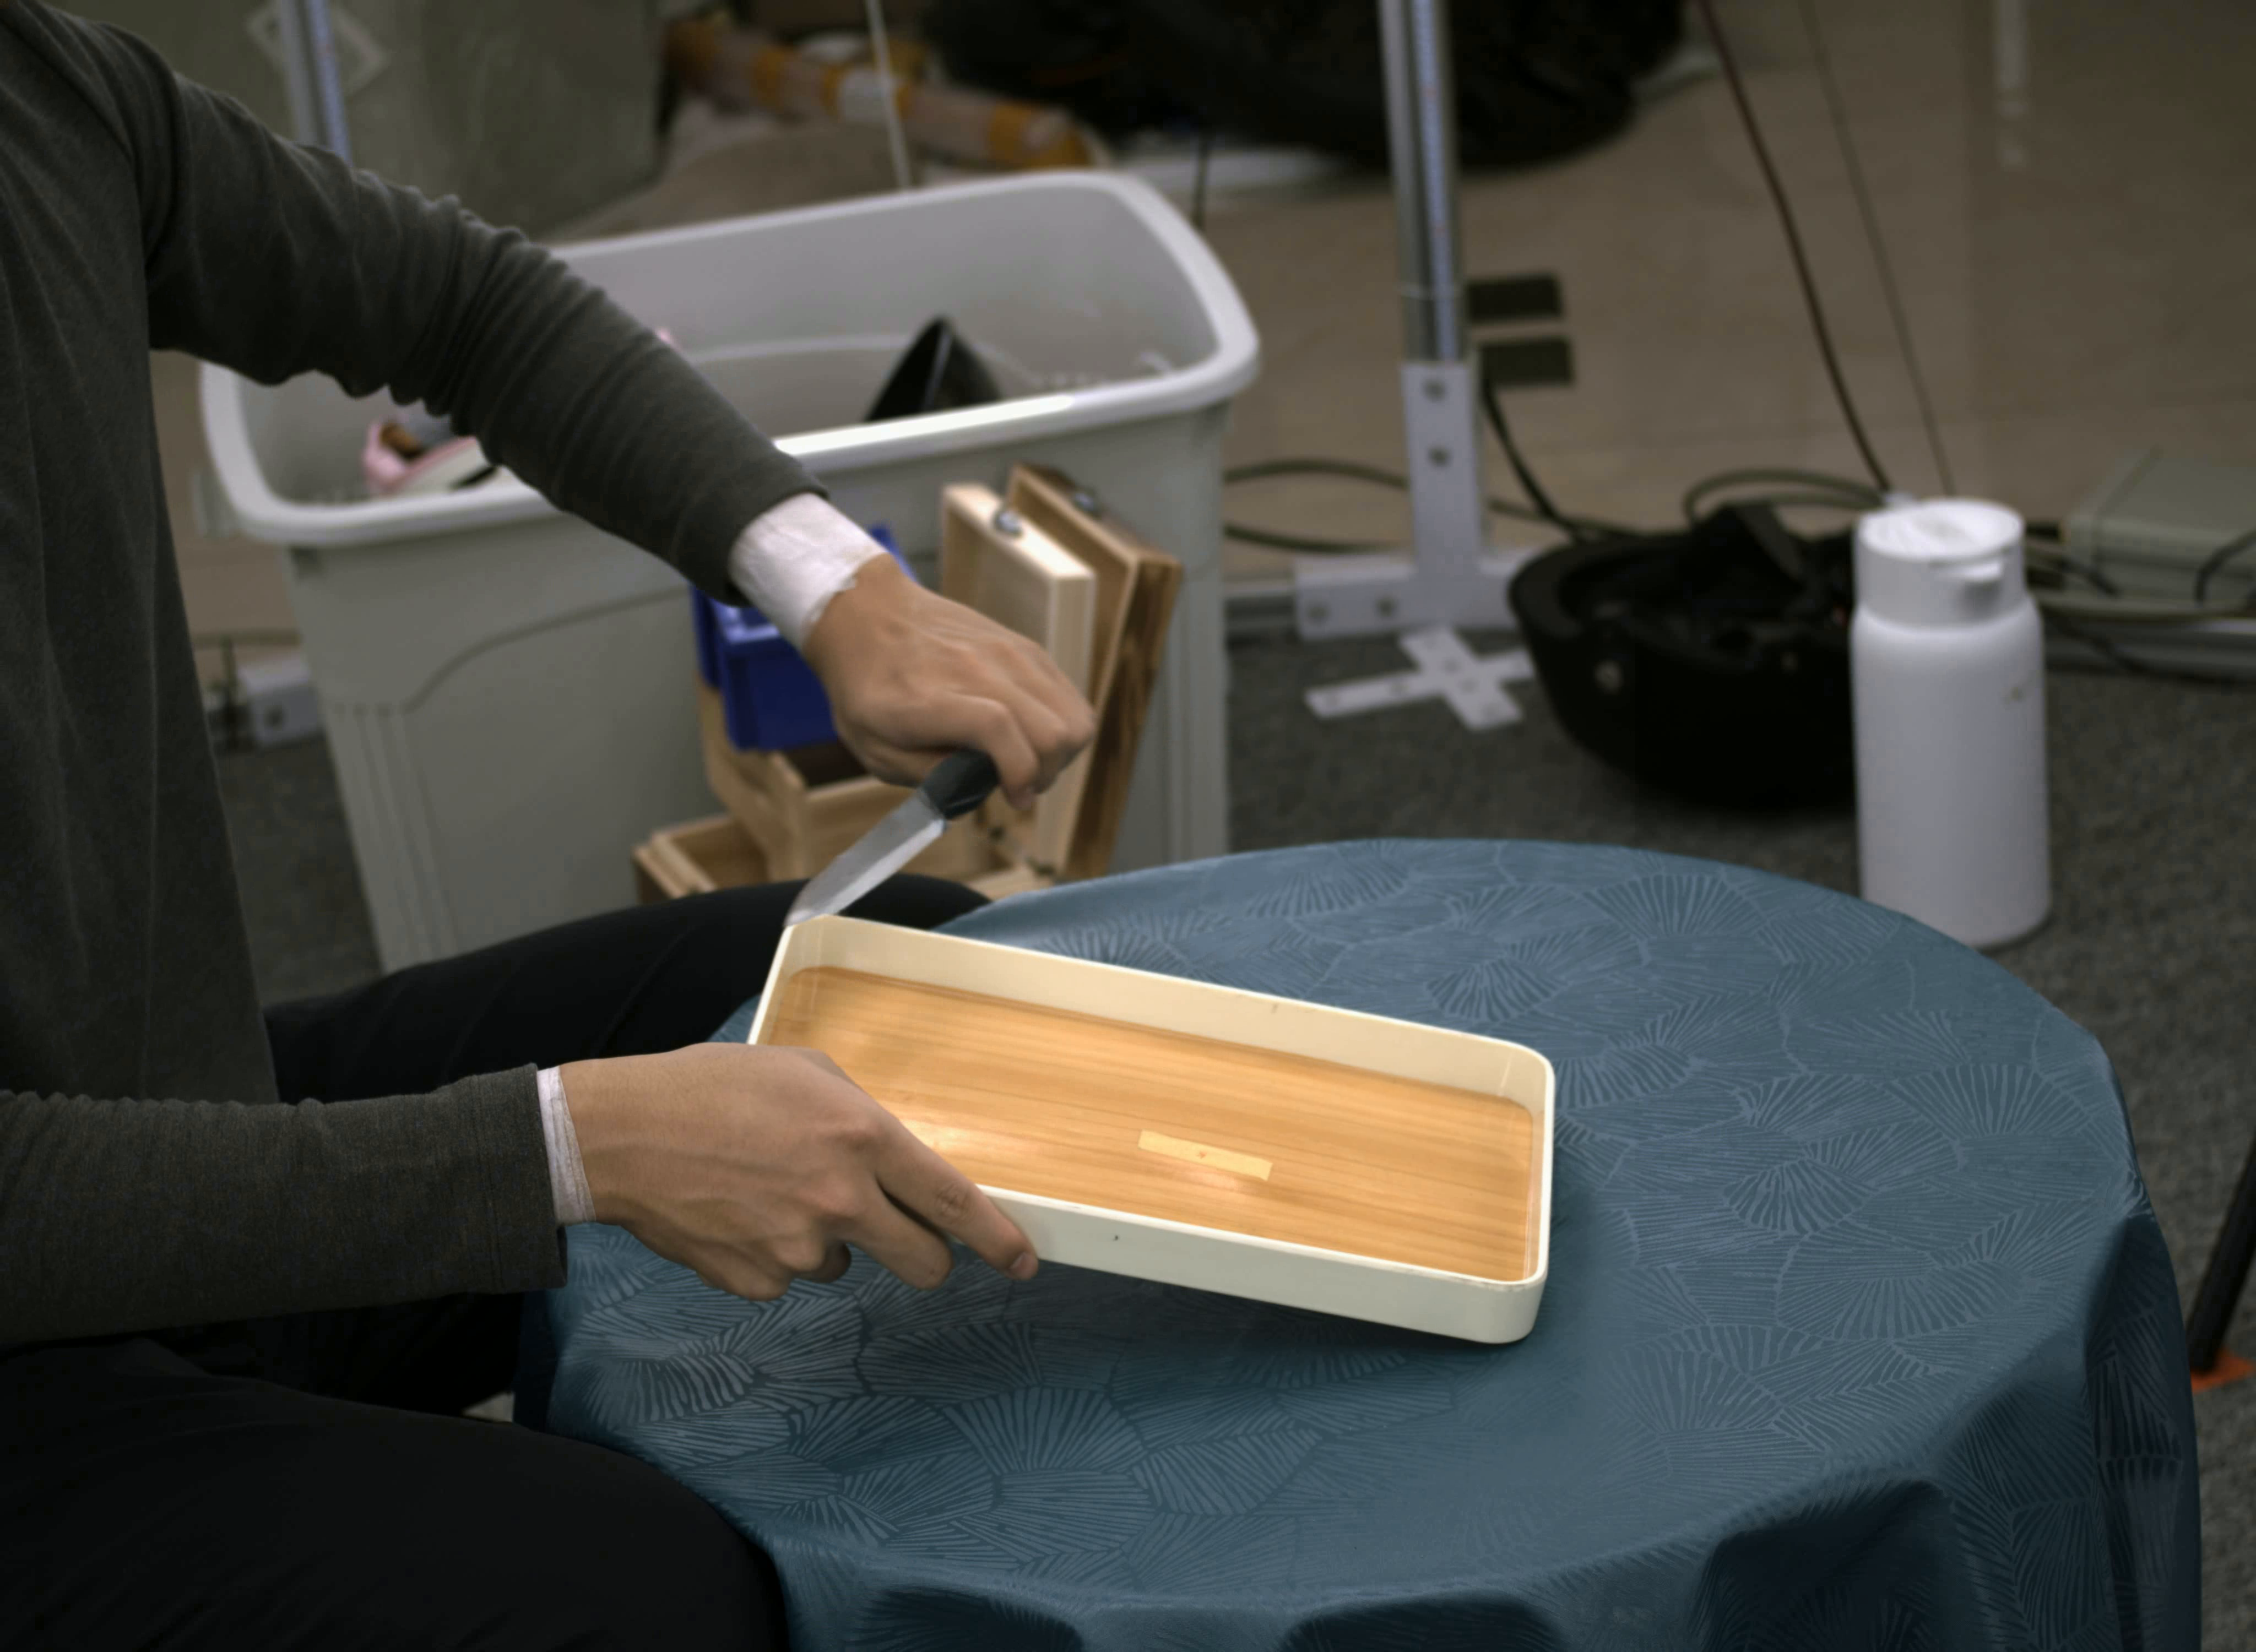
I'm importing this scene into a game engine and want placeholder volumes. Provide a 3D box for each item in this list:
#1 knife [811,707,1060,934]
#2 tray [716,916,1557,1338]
[{"bbox_3d":[-0.077,-0.003,2.181,0.024,0.016,0.235,19,26,14],"label":"knife"},{"bbox_3d":[0.007,0.109,2.091,0.300,0.028,0.189,11,25,1],"label":"tray"}]
